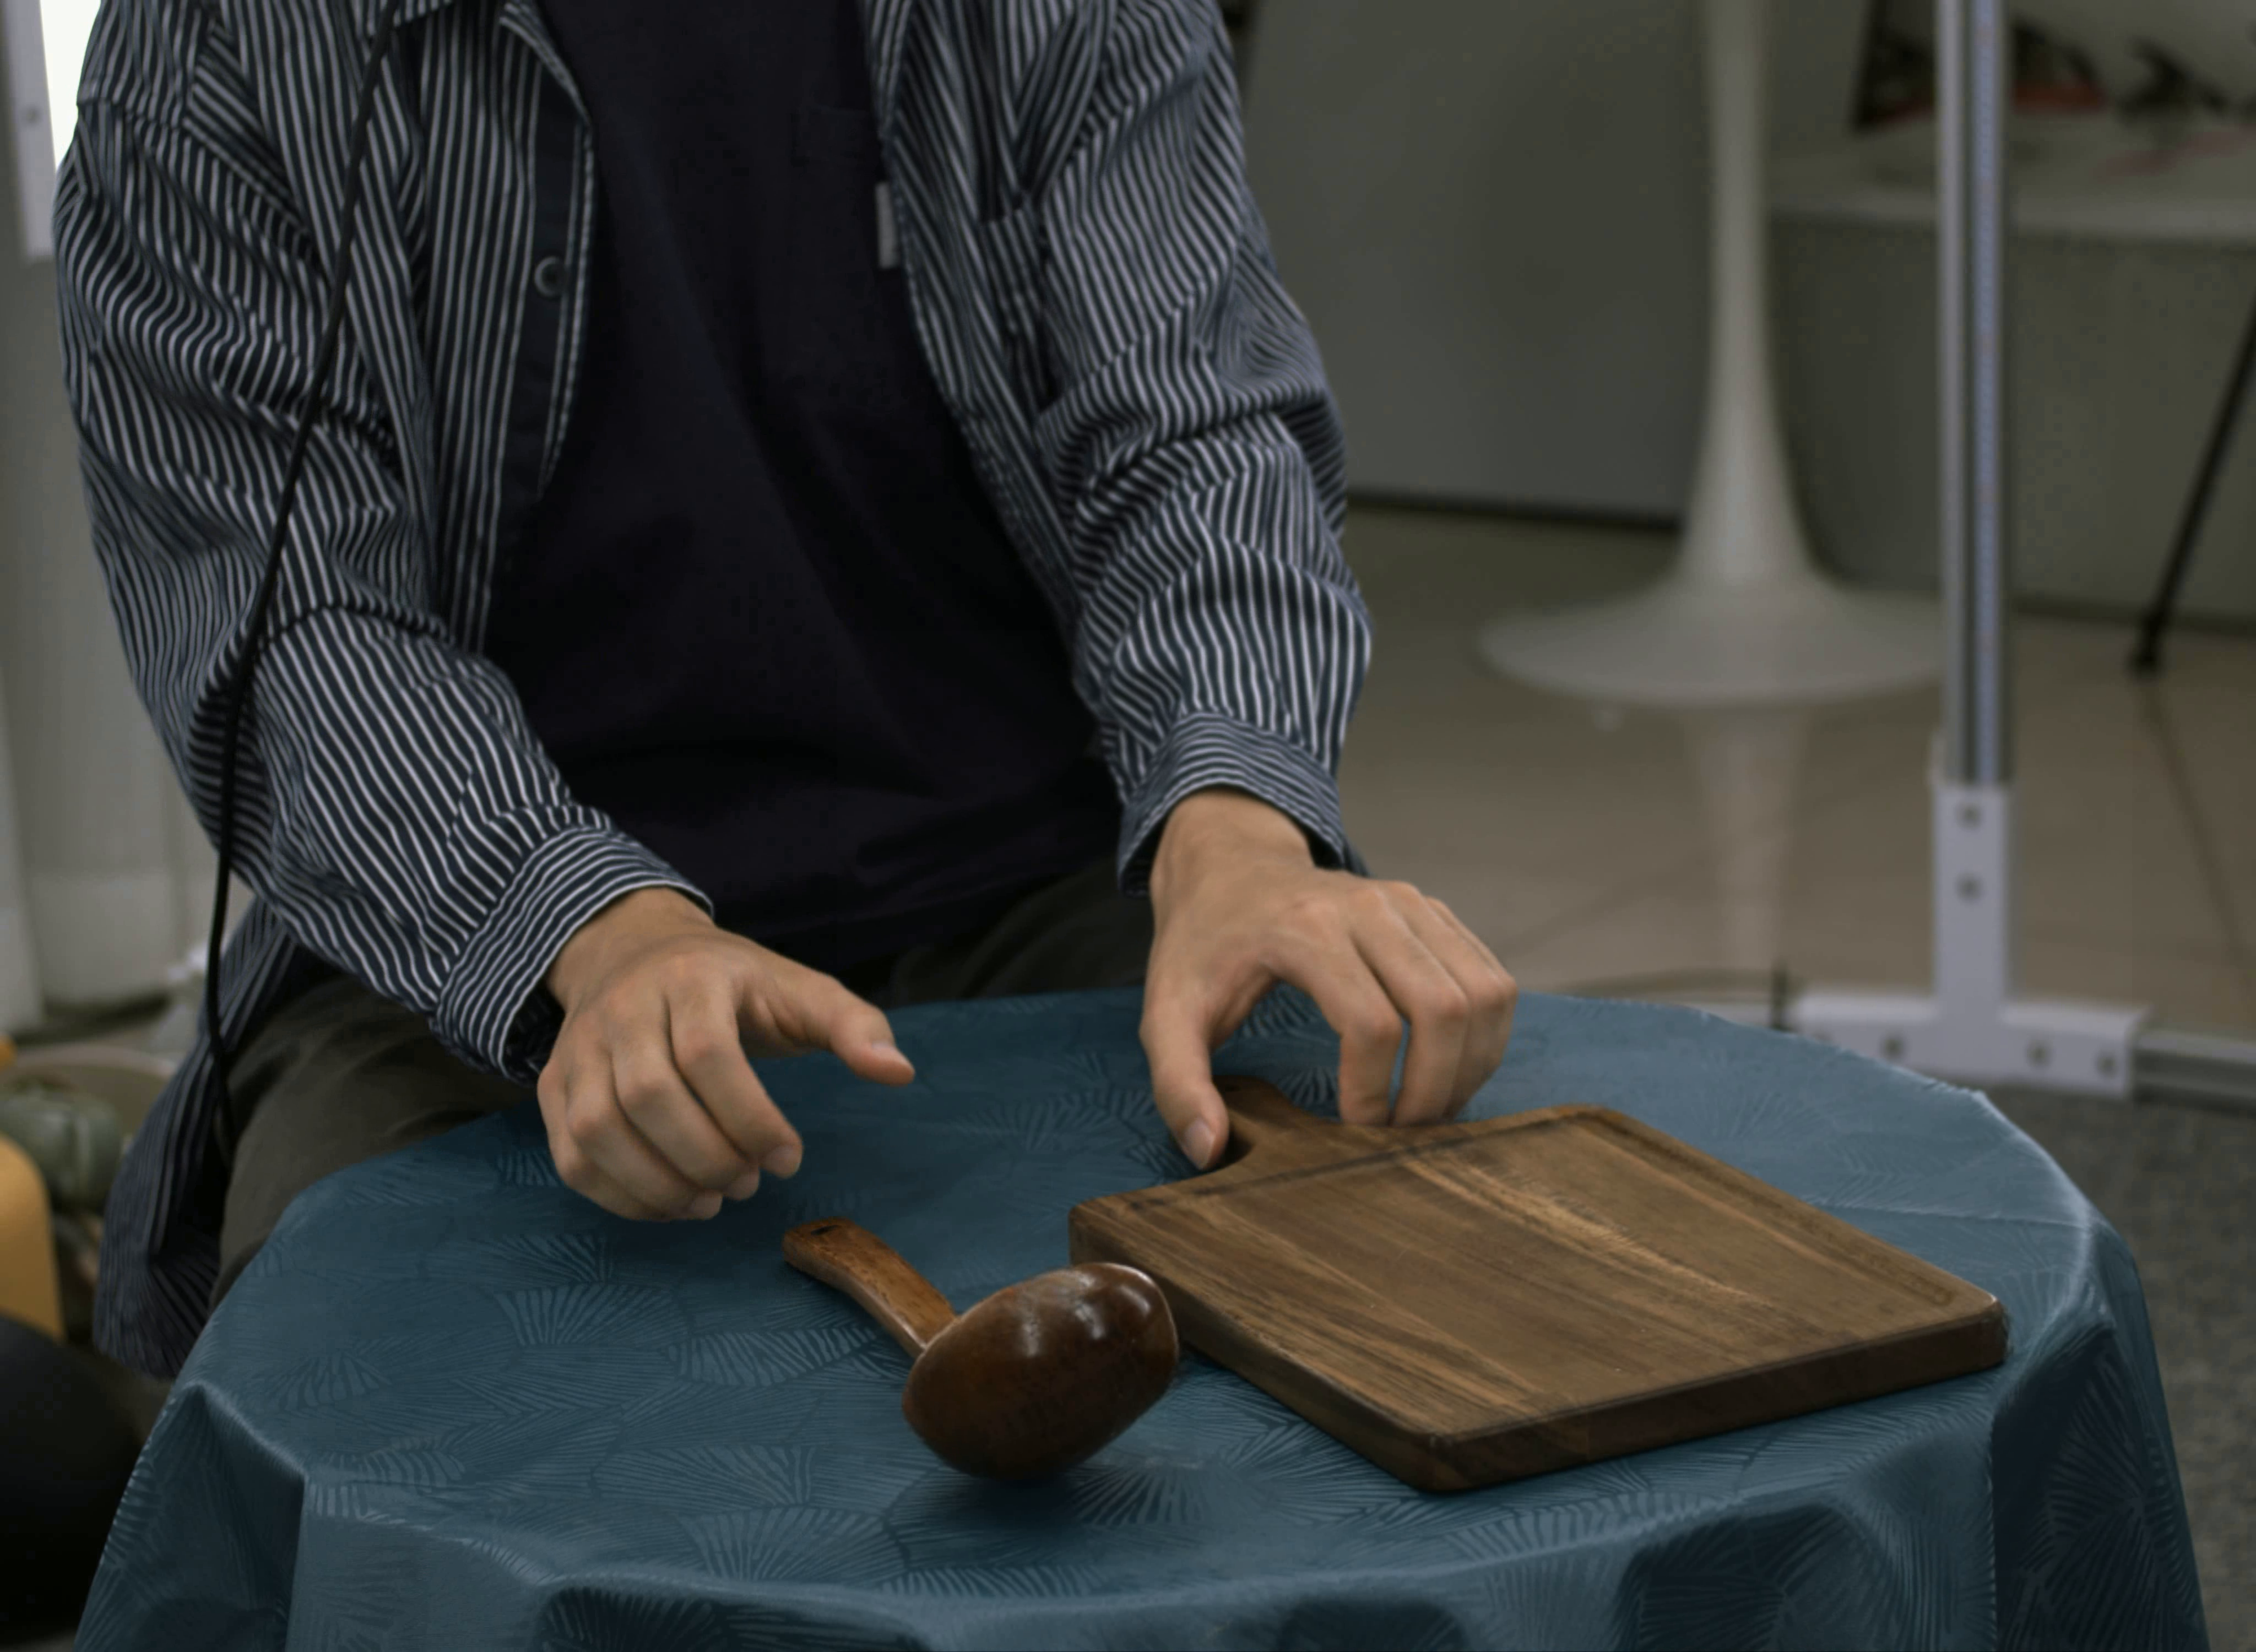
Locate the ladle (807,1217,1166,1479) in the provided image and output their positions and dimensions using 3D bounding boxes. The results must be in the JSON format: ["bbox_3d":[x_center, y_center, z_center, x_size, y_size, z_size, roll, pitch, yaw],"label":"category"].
[{"bbox_3d":[-0.059,0.129,1.591,0.080,0.077,0.276,-12,15,-15],"label":"ladle"}]

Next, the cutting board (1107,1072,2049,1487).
[{"bbox_3d":[0.110,0.127,1.672,0.197,0.023,0.355,-10,15,-22],"label":"cutting board"}]
